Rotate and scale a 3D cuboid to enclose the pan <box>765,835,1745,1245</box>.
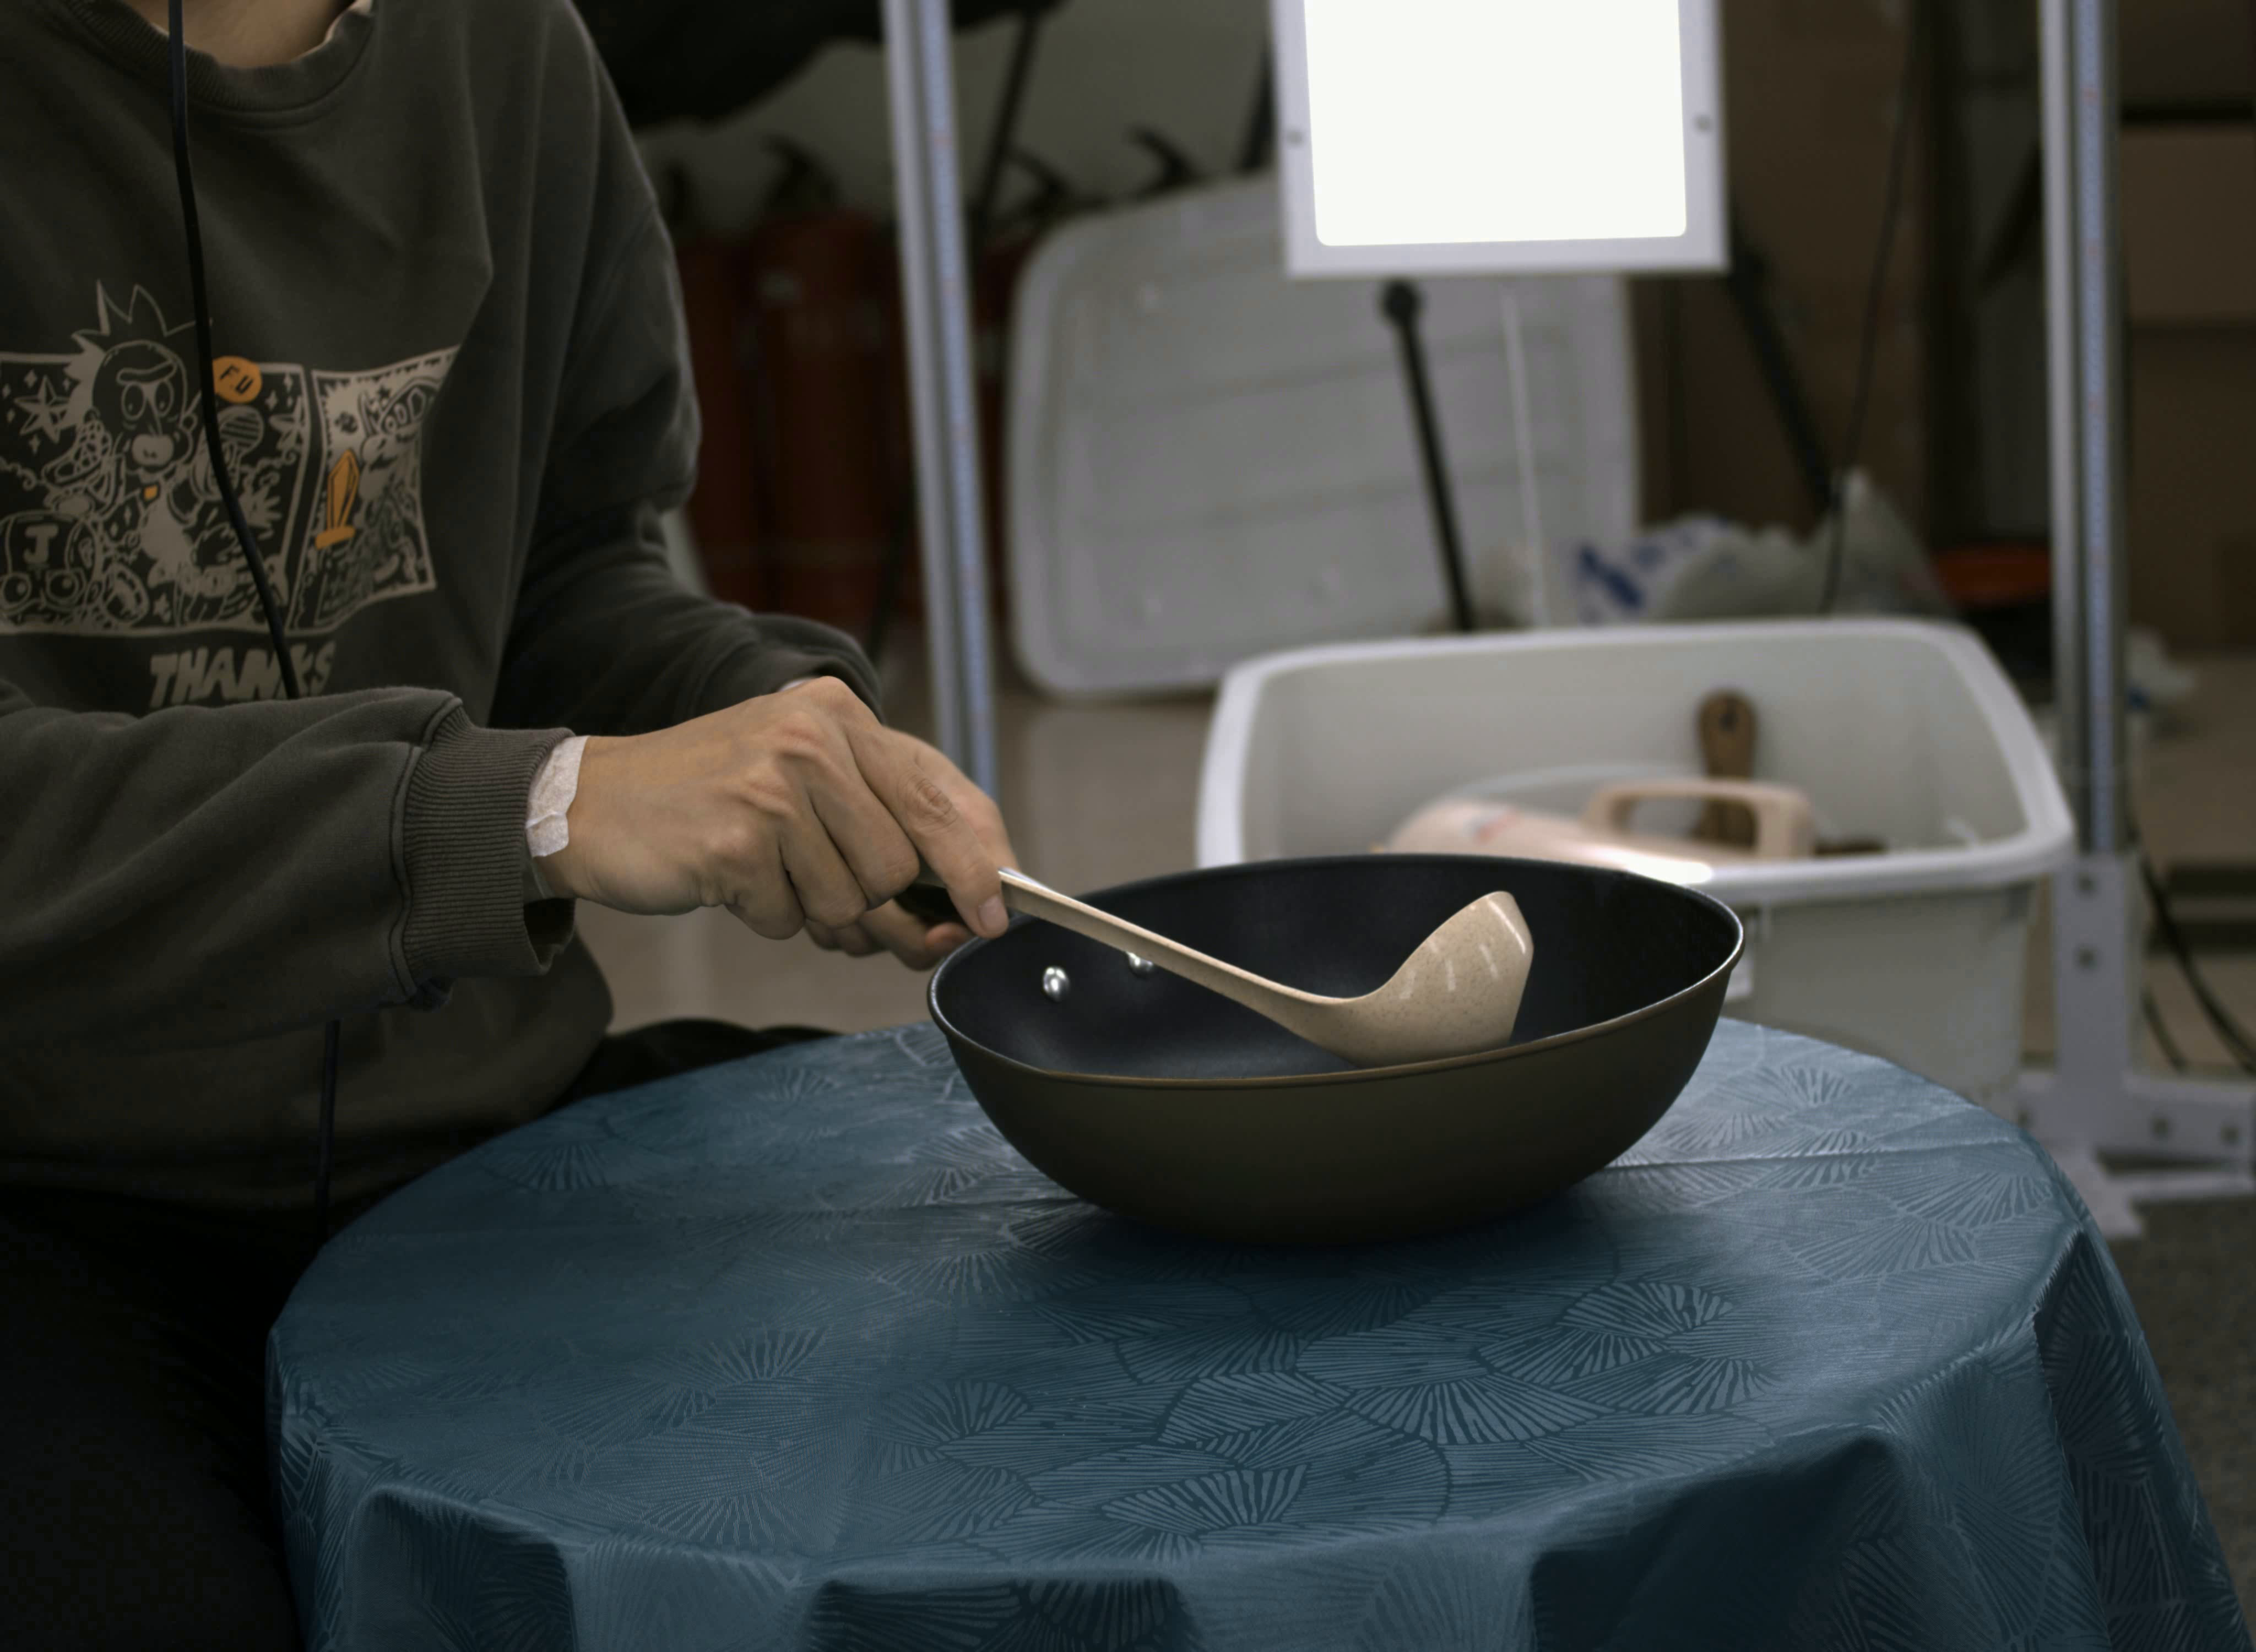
[{"bbox_3d":[0.014,0.070,1.948,0.281,0.087,0.473,-16,17,-37],"label":"pan"}]

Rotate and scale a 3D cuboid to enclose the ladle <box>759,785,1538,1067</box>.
[{"bbox_3d":[0.010,0.012,1.782,0.254,0.073,0.072,23,58,4],"label":"ladle"}]
